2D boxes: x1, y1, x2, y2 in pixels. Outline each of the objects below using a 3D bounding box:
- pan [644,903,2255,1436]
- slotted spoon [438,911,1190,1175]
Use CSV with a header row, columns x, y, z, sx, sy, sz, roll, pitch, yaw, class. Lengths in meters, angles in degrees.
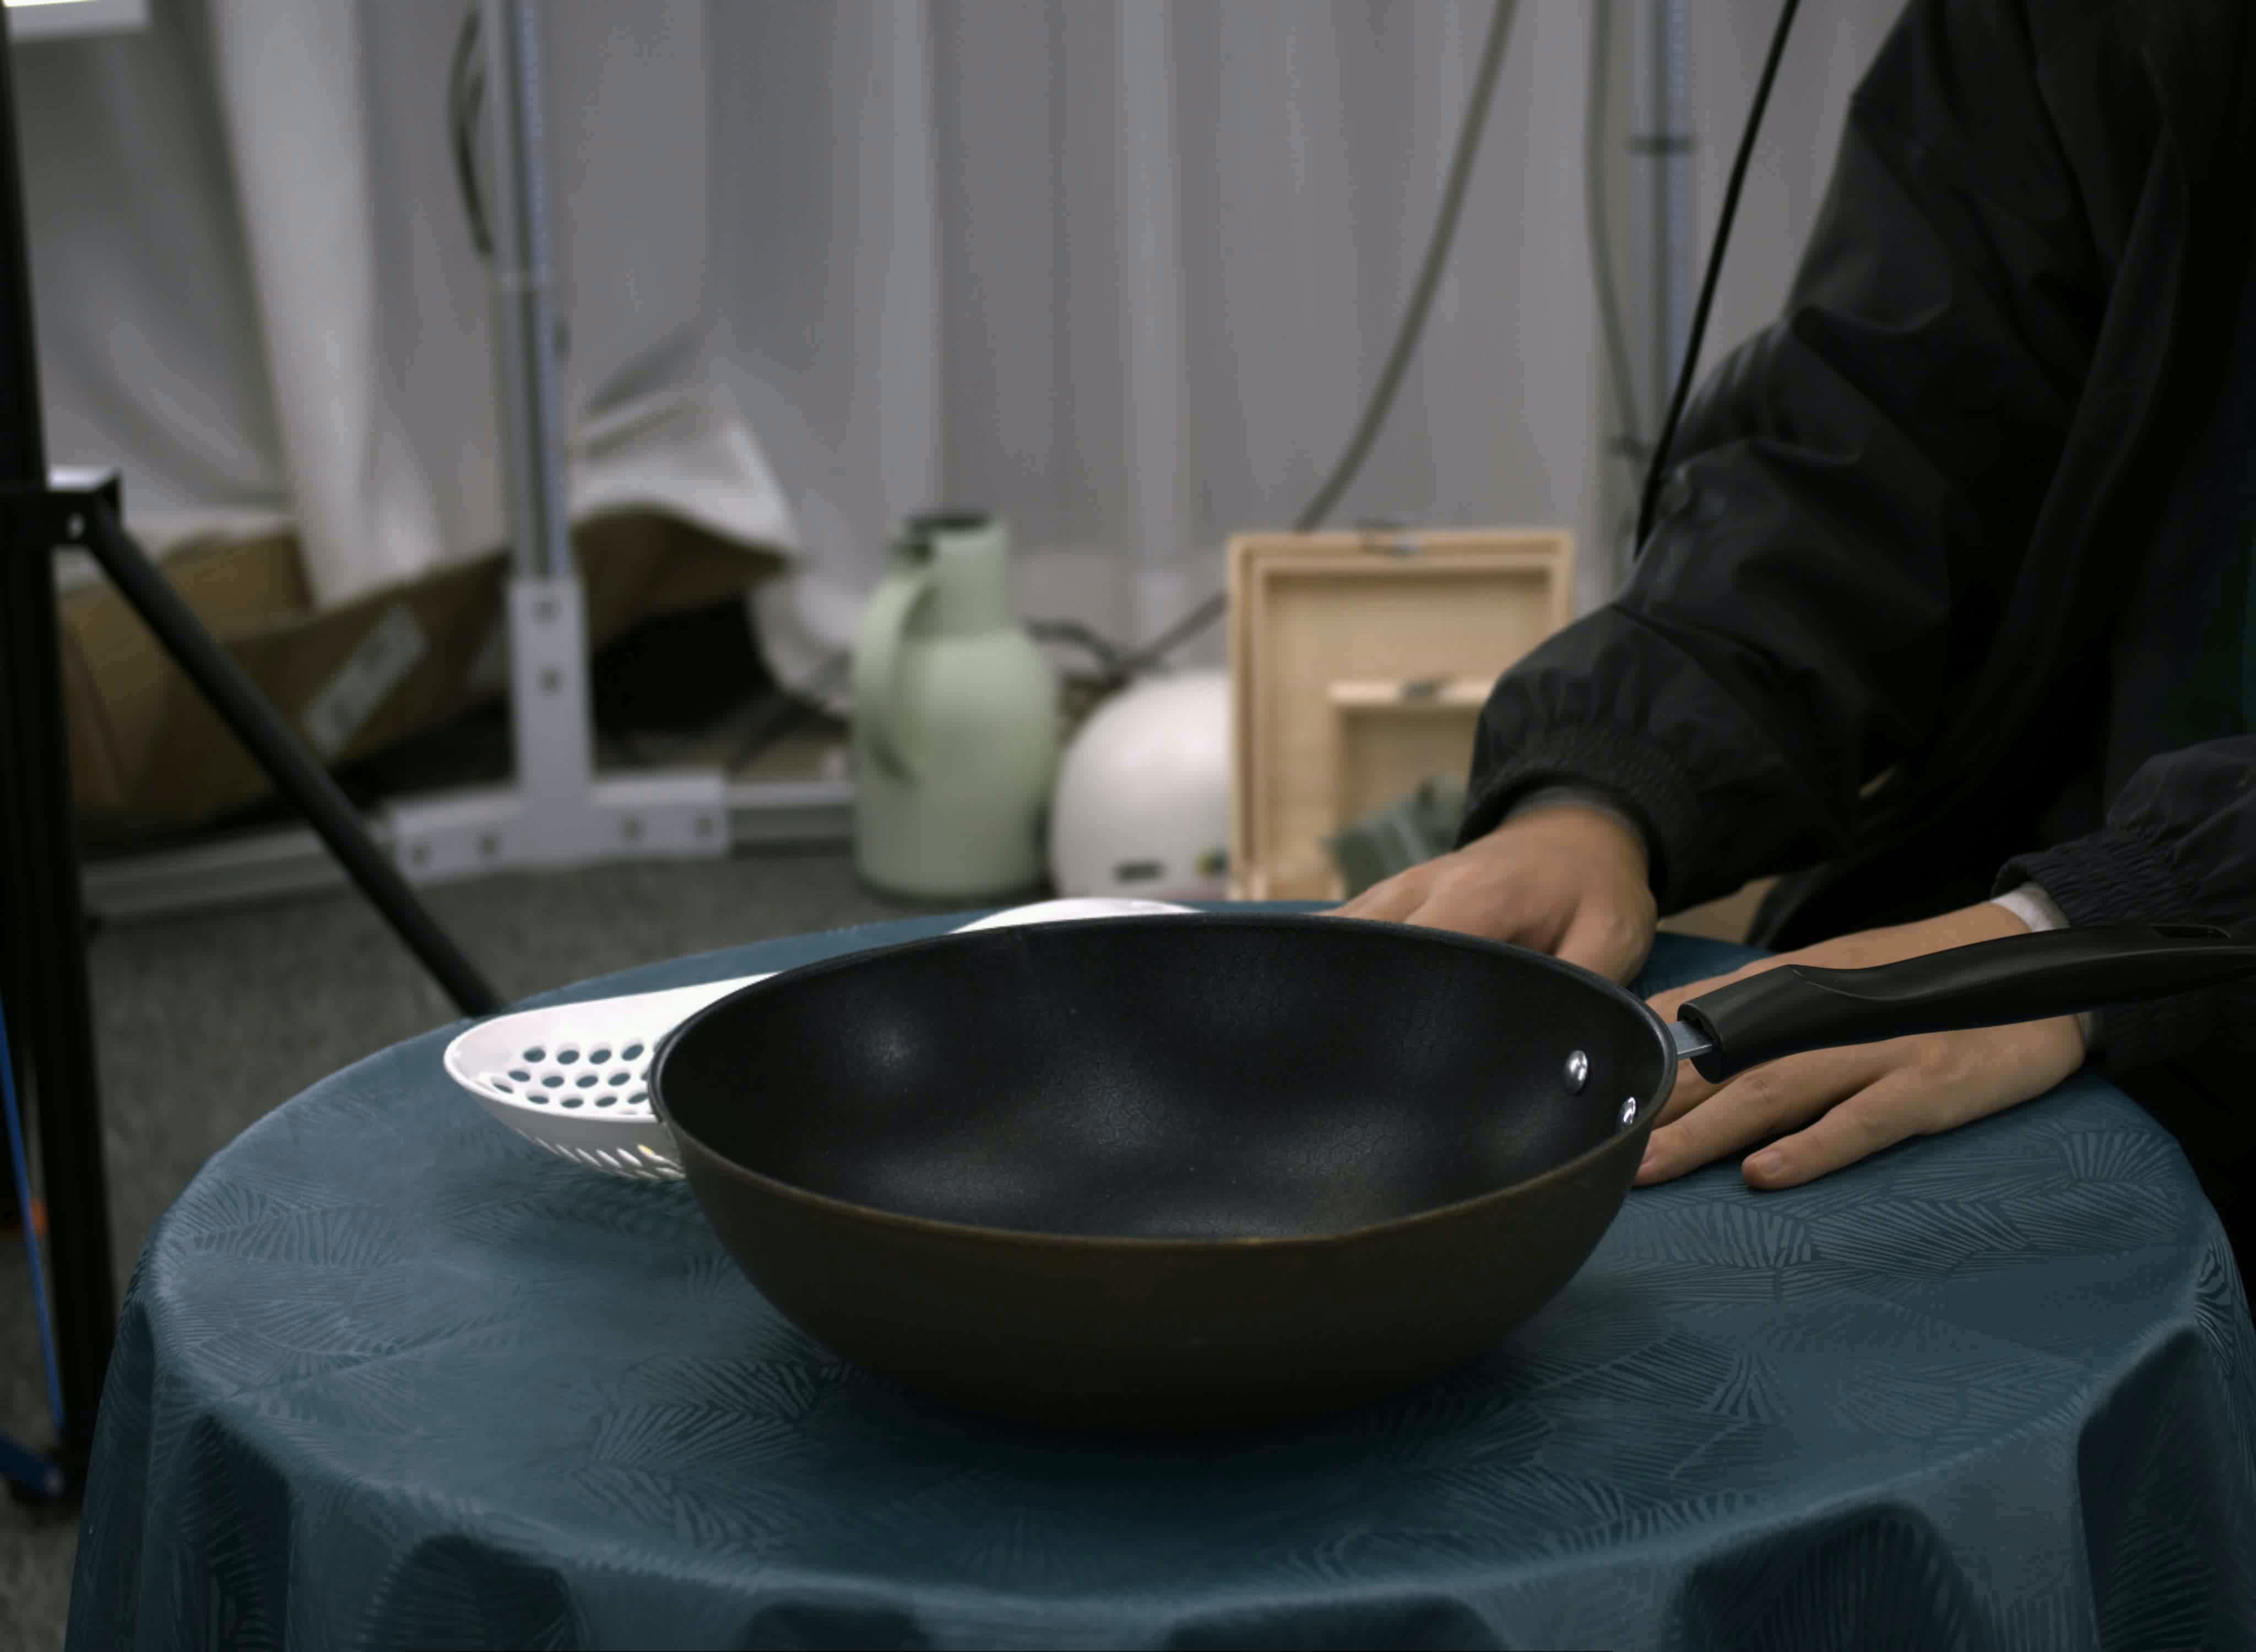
x,y,z,sx,sy,sz,roll,pitch,yaw,class
0.097,0.090,1.457,0.456,0.087,0.292,-5,16,-14,pan
-0.074,0.056,1.678,0.139,0.050,0.341,6,18,34,slotted spoon
